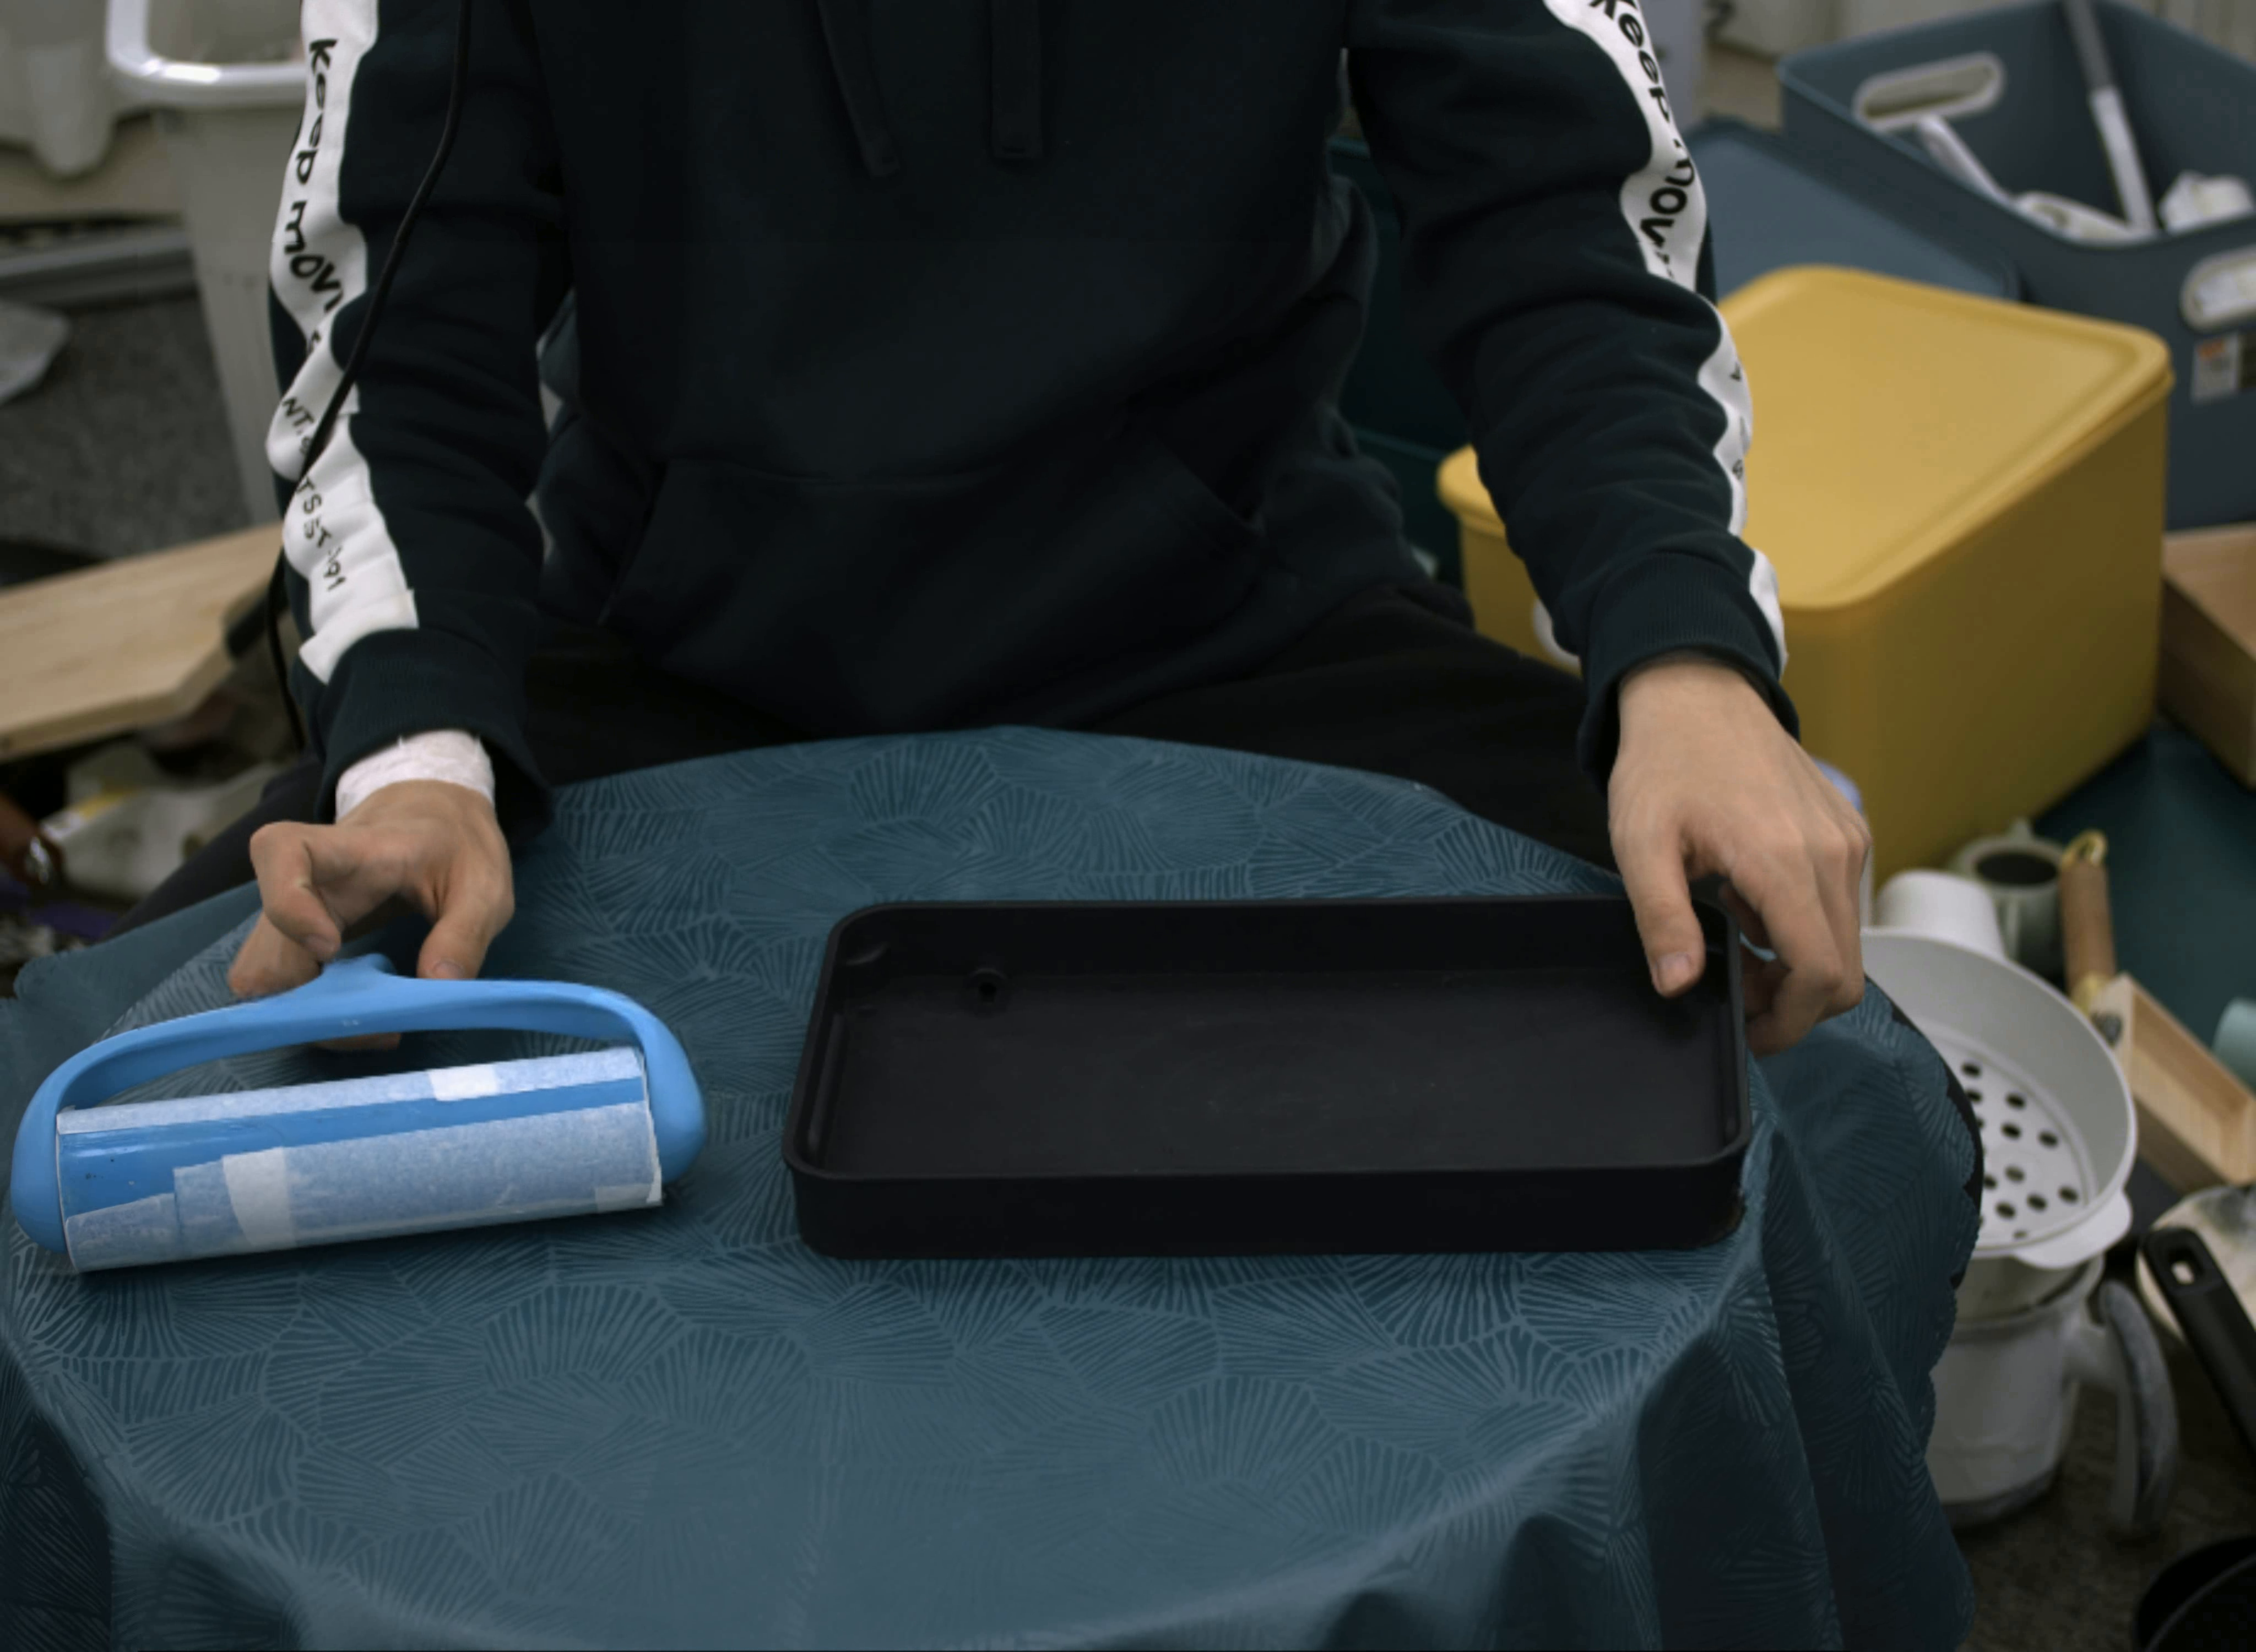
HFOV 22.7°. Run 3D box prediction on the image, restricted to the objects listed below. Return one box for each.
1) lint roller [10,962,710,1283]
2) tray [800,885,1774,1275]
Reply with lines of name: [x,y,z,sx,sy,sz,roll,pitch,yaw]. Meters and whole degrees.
lint roller: [-0.262,0.082,1.900,0.228,0.067,0.182,-9,29,-8]
tray: [0.055,0.084,1.892,0.316,0.036,0.187,-3,27,4]
